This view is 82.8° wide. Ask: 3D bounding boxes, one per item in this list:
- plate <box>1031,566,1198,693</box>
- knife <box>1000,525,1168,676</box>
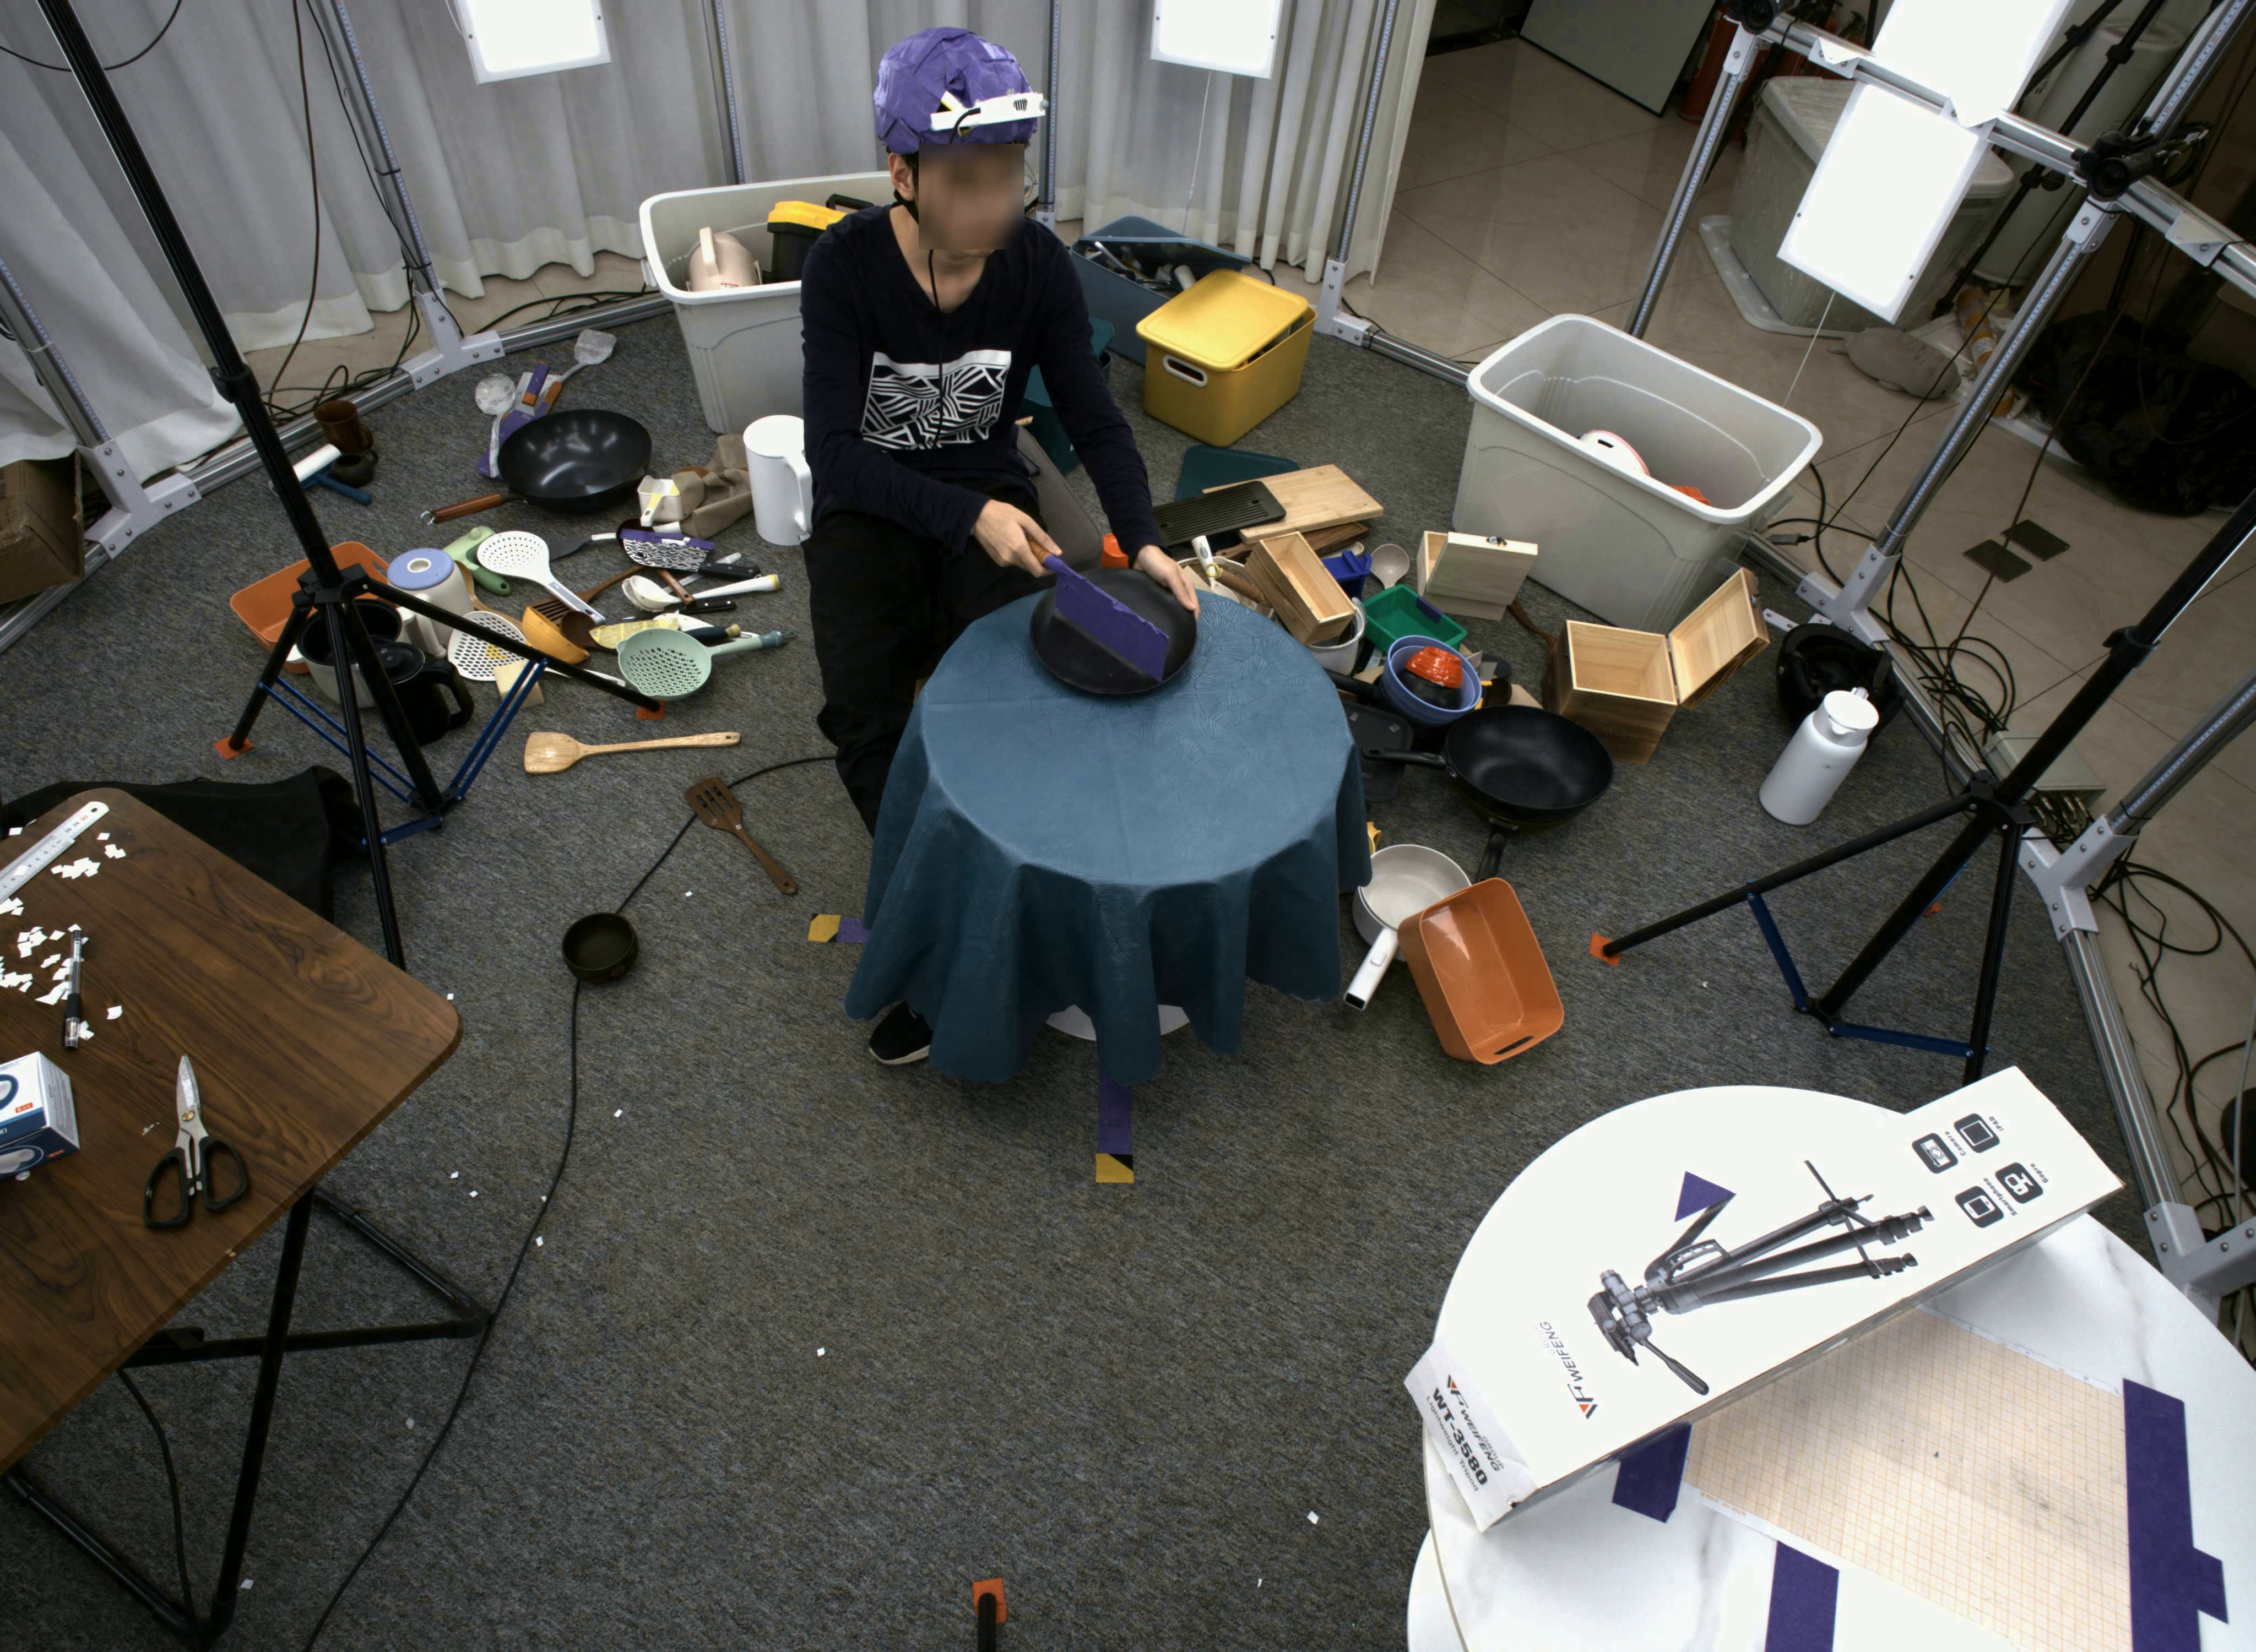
[{"bbox_3d":[-0.020,-0.285,1.884,0.244,0.023,0.250,-1,55,0],"label":"plate"},{"bbox_3d":[-0.067,-0.319,1.843,0.320,0.101,0.032,39,55,24],"label":"knife"}]
